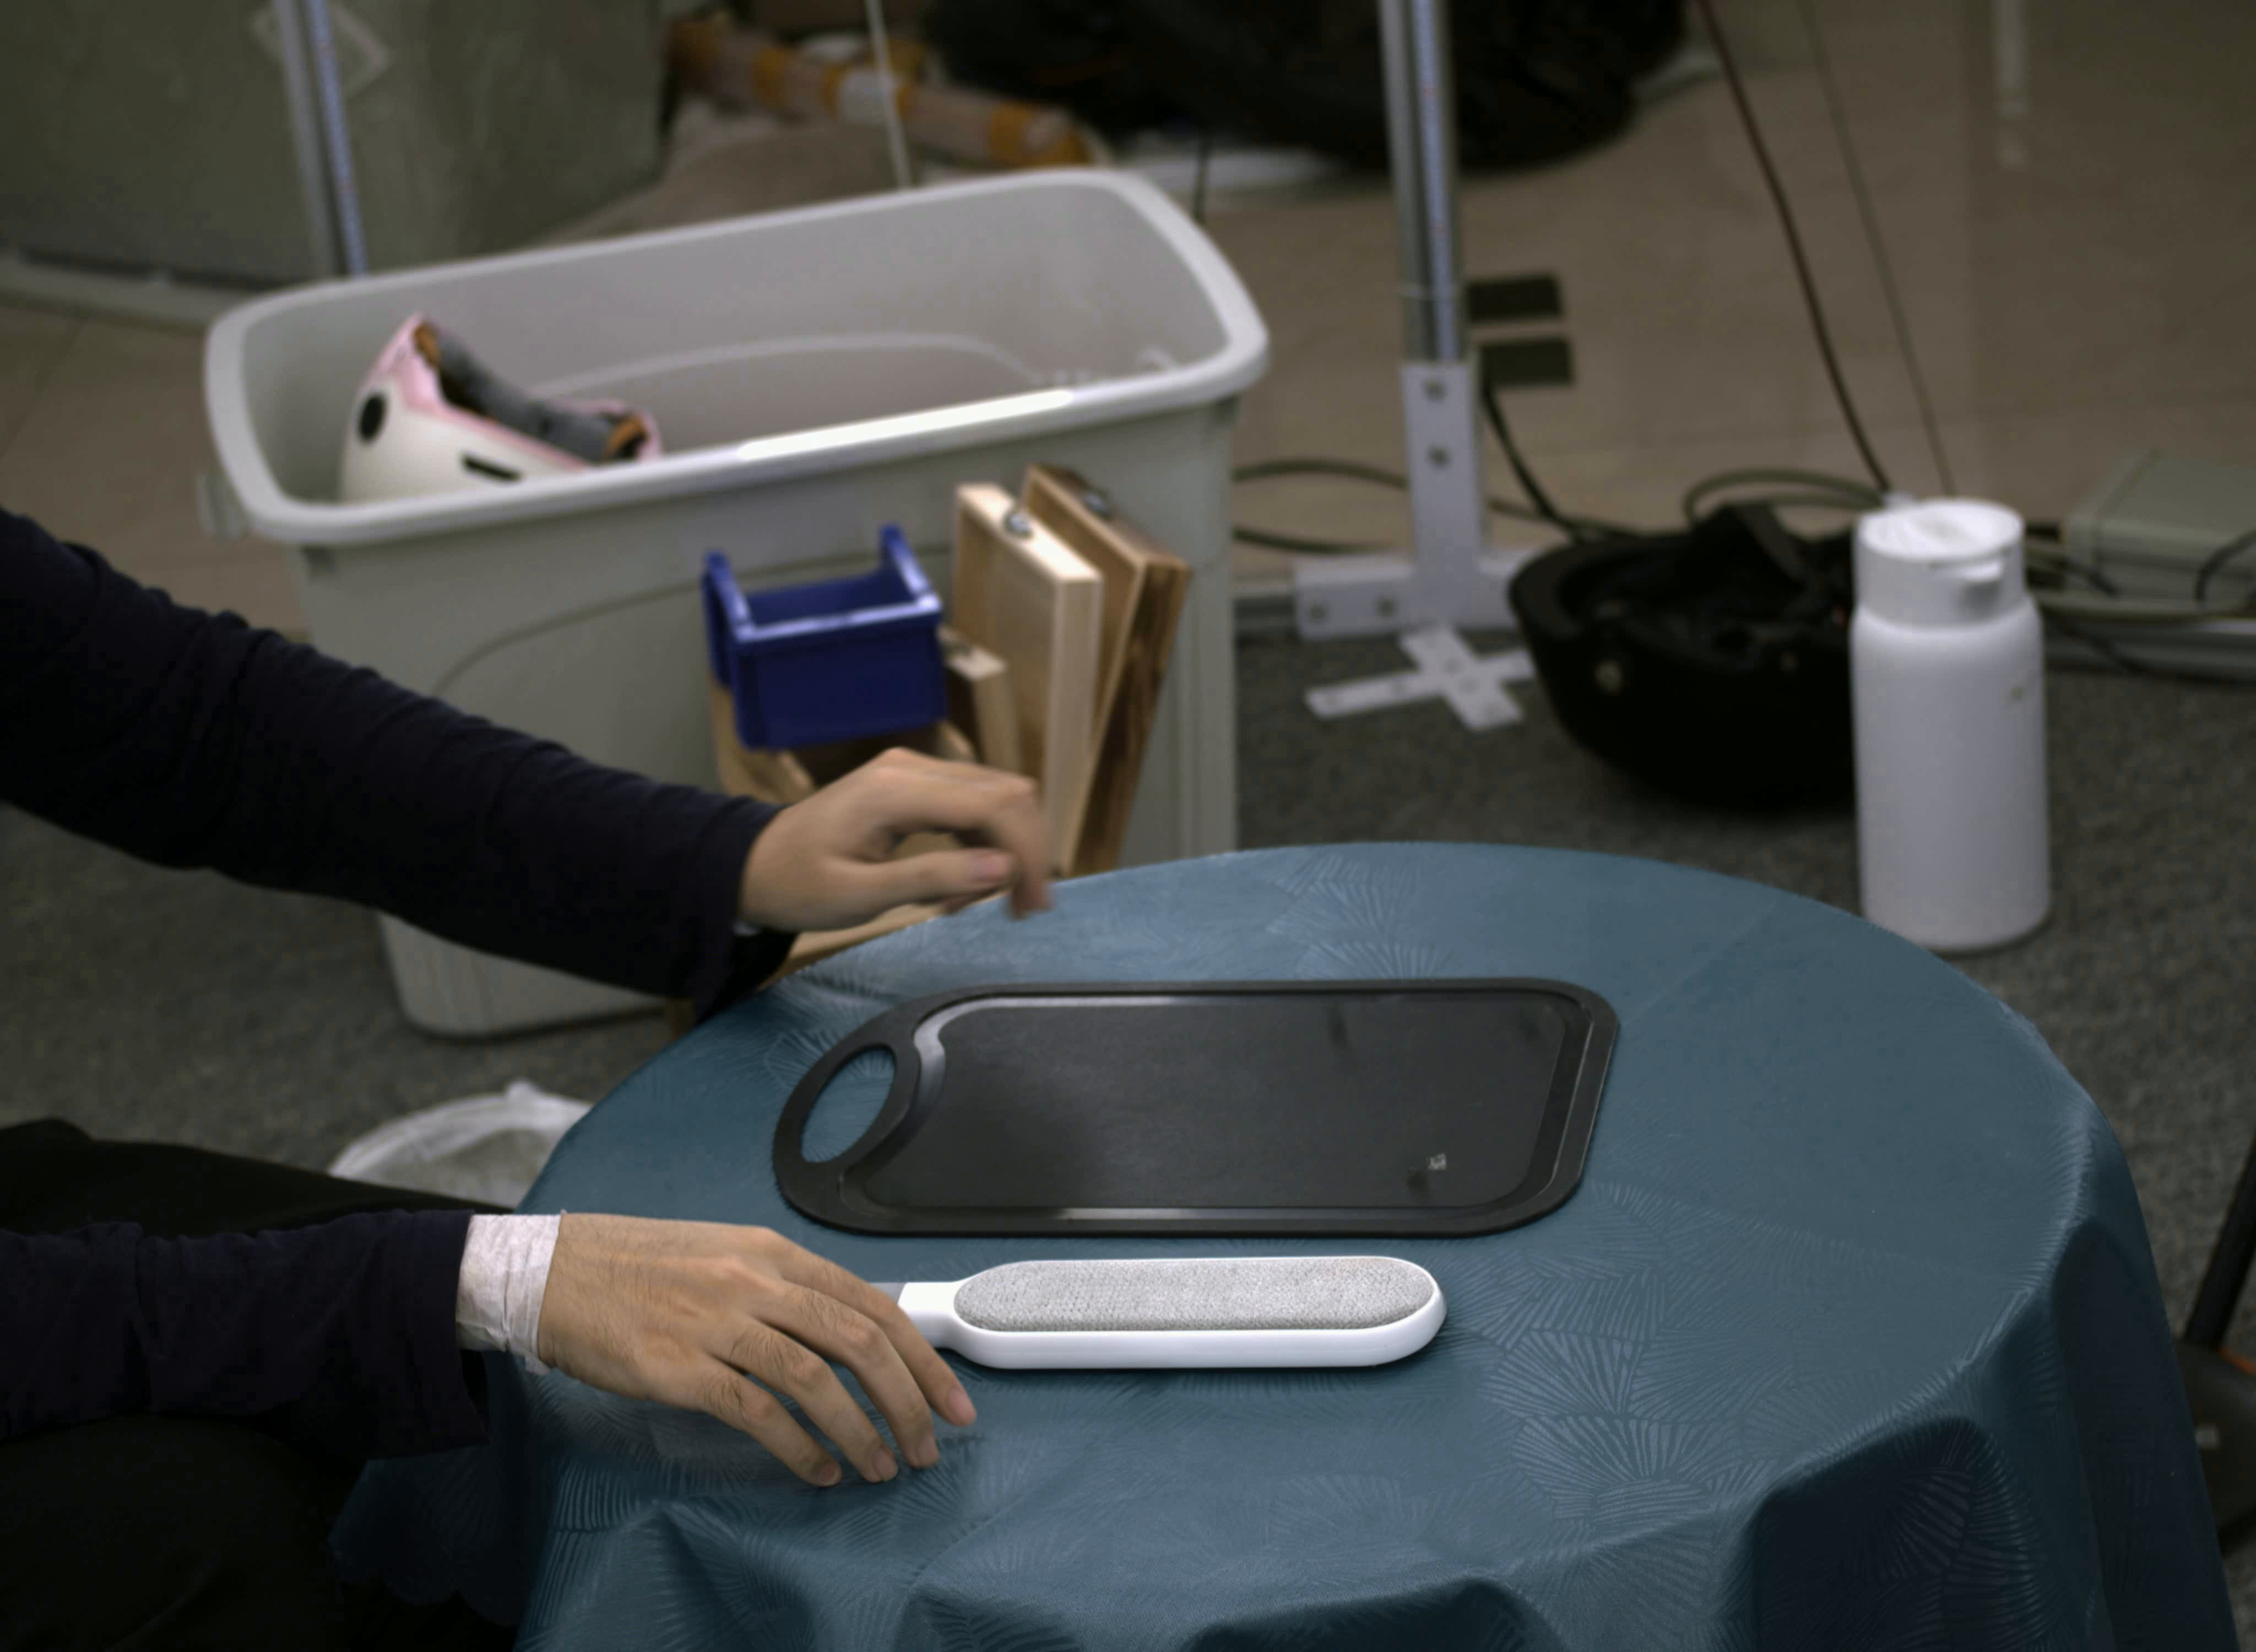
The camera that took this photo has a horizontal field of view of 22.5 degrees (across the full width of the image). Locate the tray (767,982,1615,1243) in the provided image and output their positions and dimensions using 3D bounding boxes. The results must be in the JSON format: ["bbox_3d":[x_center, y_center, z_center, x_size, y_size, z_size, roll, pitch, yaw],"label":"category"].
[{"bbox_3d":[0.020,0.107,2.207,0.325,0.010,0.208,-1,25,14],"label":"tray"}]

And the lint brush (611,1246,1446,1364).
[{"bbox_3d":[-0.039,0.173,2.055,0.308,0.021,0.059,-1,31,12],"label":"lint brush"}]
